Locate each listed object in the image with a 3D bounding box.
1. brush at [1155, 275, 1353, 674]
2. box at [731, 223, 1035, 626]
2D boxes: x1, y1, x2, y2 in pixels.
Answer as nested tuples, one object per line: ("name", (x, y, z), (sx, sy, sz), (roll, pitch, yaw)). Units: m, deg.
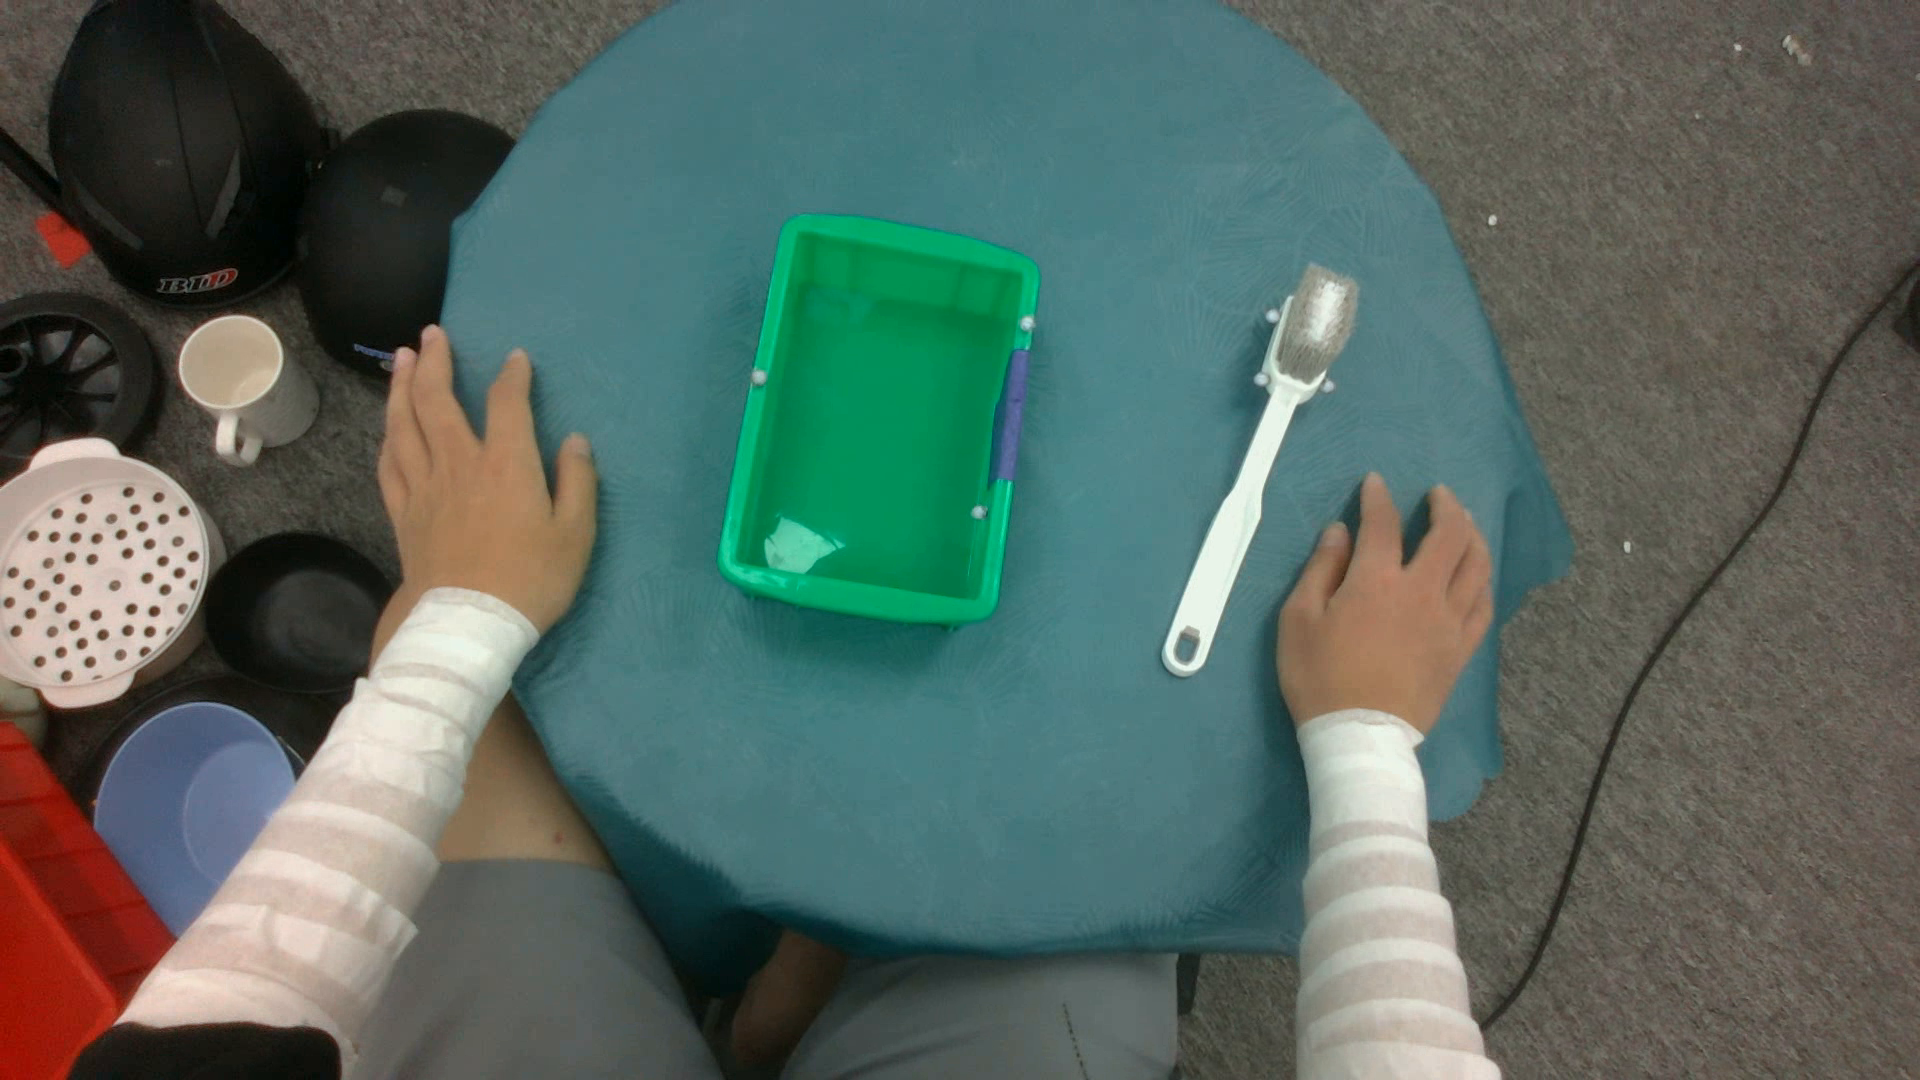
("brush", (0.163, -0.041, 0.756), (0.034, 0.050, 0.244), (25, 71, 1))
("box", (-0.040, -0.057, 0.730), (0.139, 0.065, 0.211), (8, 71, -7))
